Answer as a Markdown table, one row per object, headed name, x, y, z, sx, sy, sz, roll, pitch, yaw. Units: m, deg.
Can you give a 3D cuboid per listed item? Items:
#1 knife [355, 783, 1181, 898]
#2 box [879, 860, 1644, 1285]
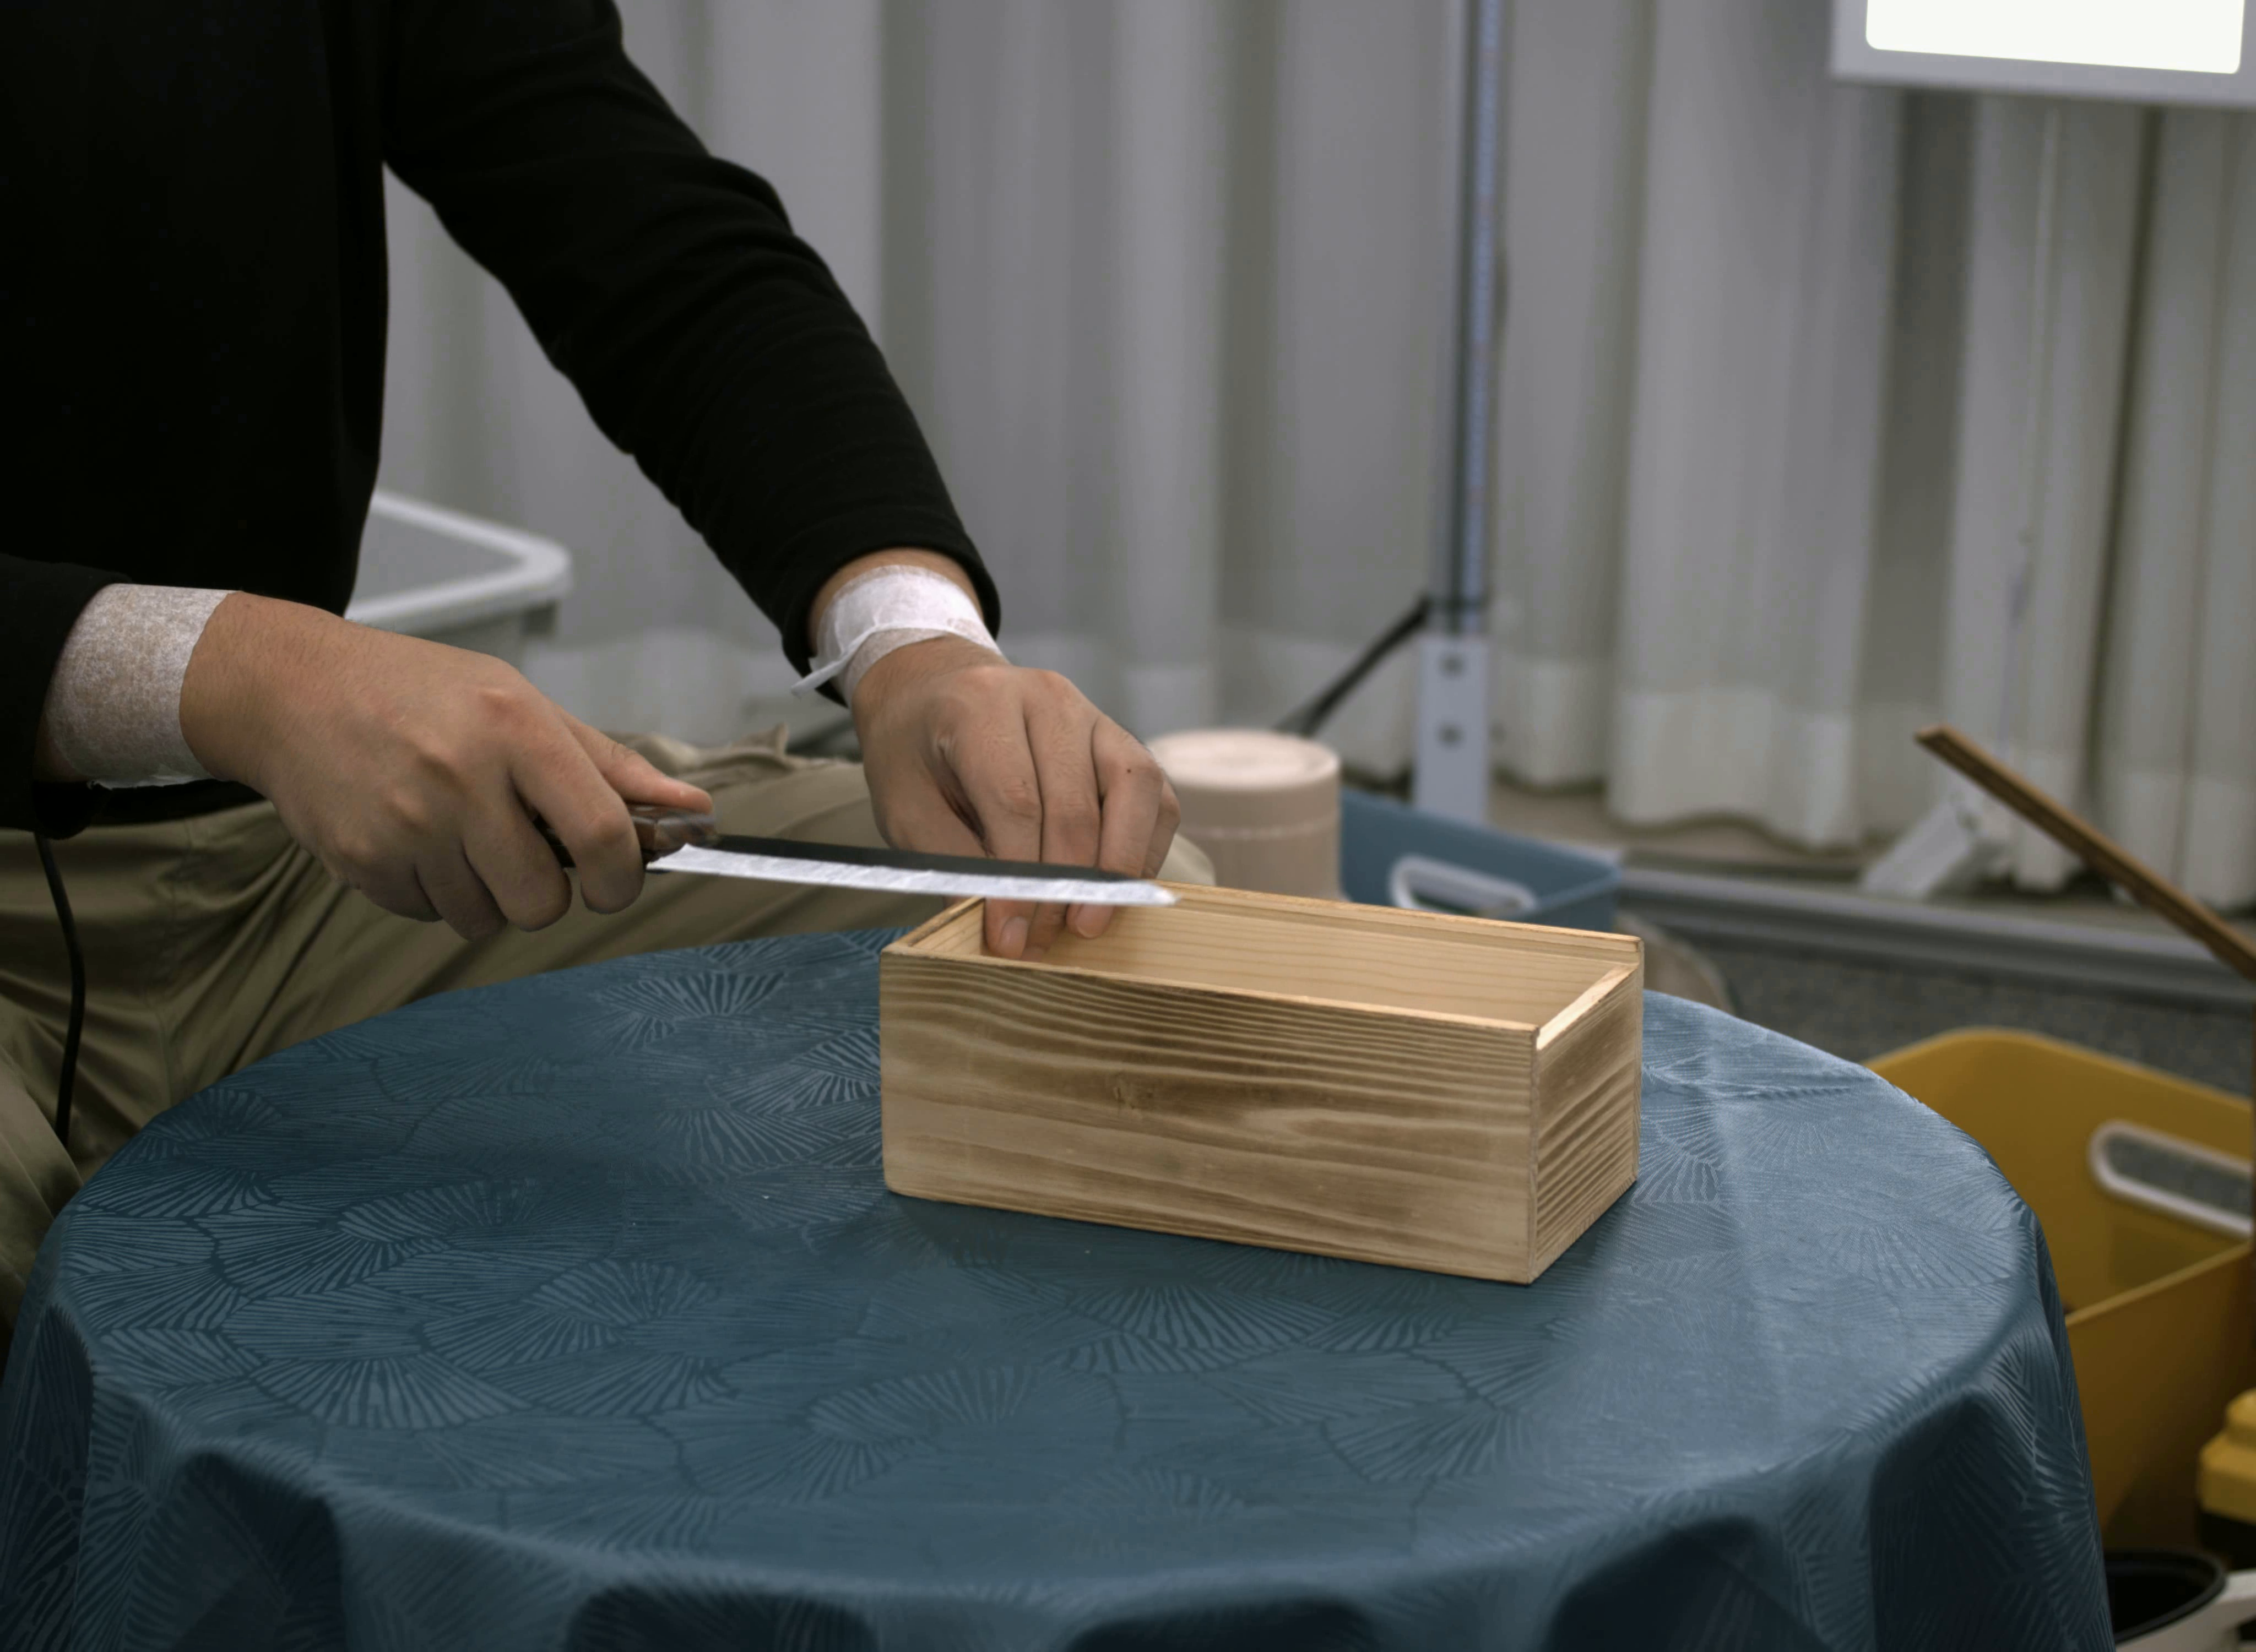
| name | x | y | z | sx | sy | sz | roll | pitch | yaw |
| --- | --- | --- | --- | --- | --- | --- | --- | --- | --- |
| knife | -0.113 | 0.007 | 1.579 | 0.286 | 0.020 | 0.050 | 5 | 15 | 25 |
| box | 0.041 | 0.073 | 1.615 | 0.209 | 0.081 | 0.107 | 7 | 16 | 21 |
